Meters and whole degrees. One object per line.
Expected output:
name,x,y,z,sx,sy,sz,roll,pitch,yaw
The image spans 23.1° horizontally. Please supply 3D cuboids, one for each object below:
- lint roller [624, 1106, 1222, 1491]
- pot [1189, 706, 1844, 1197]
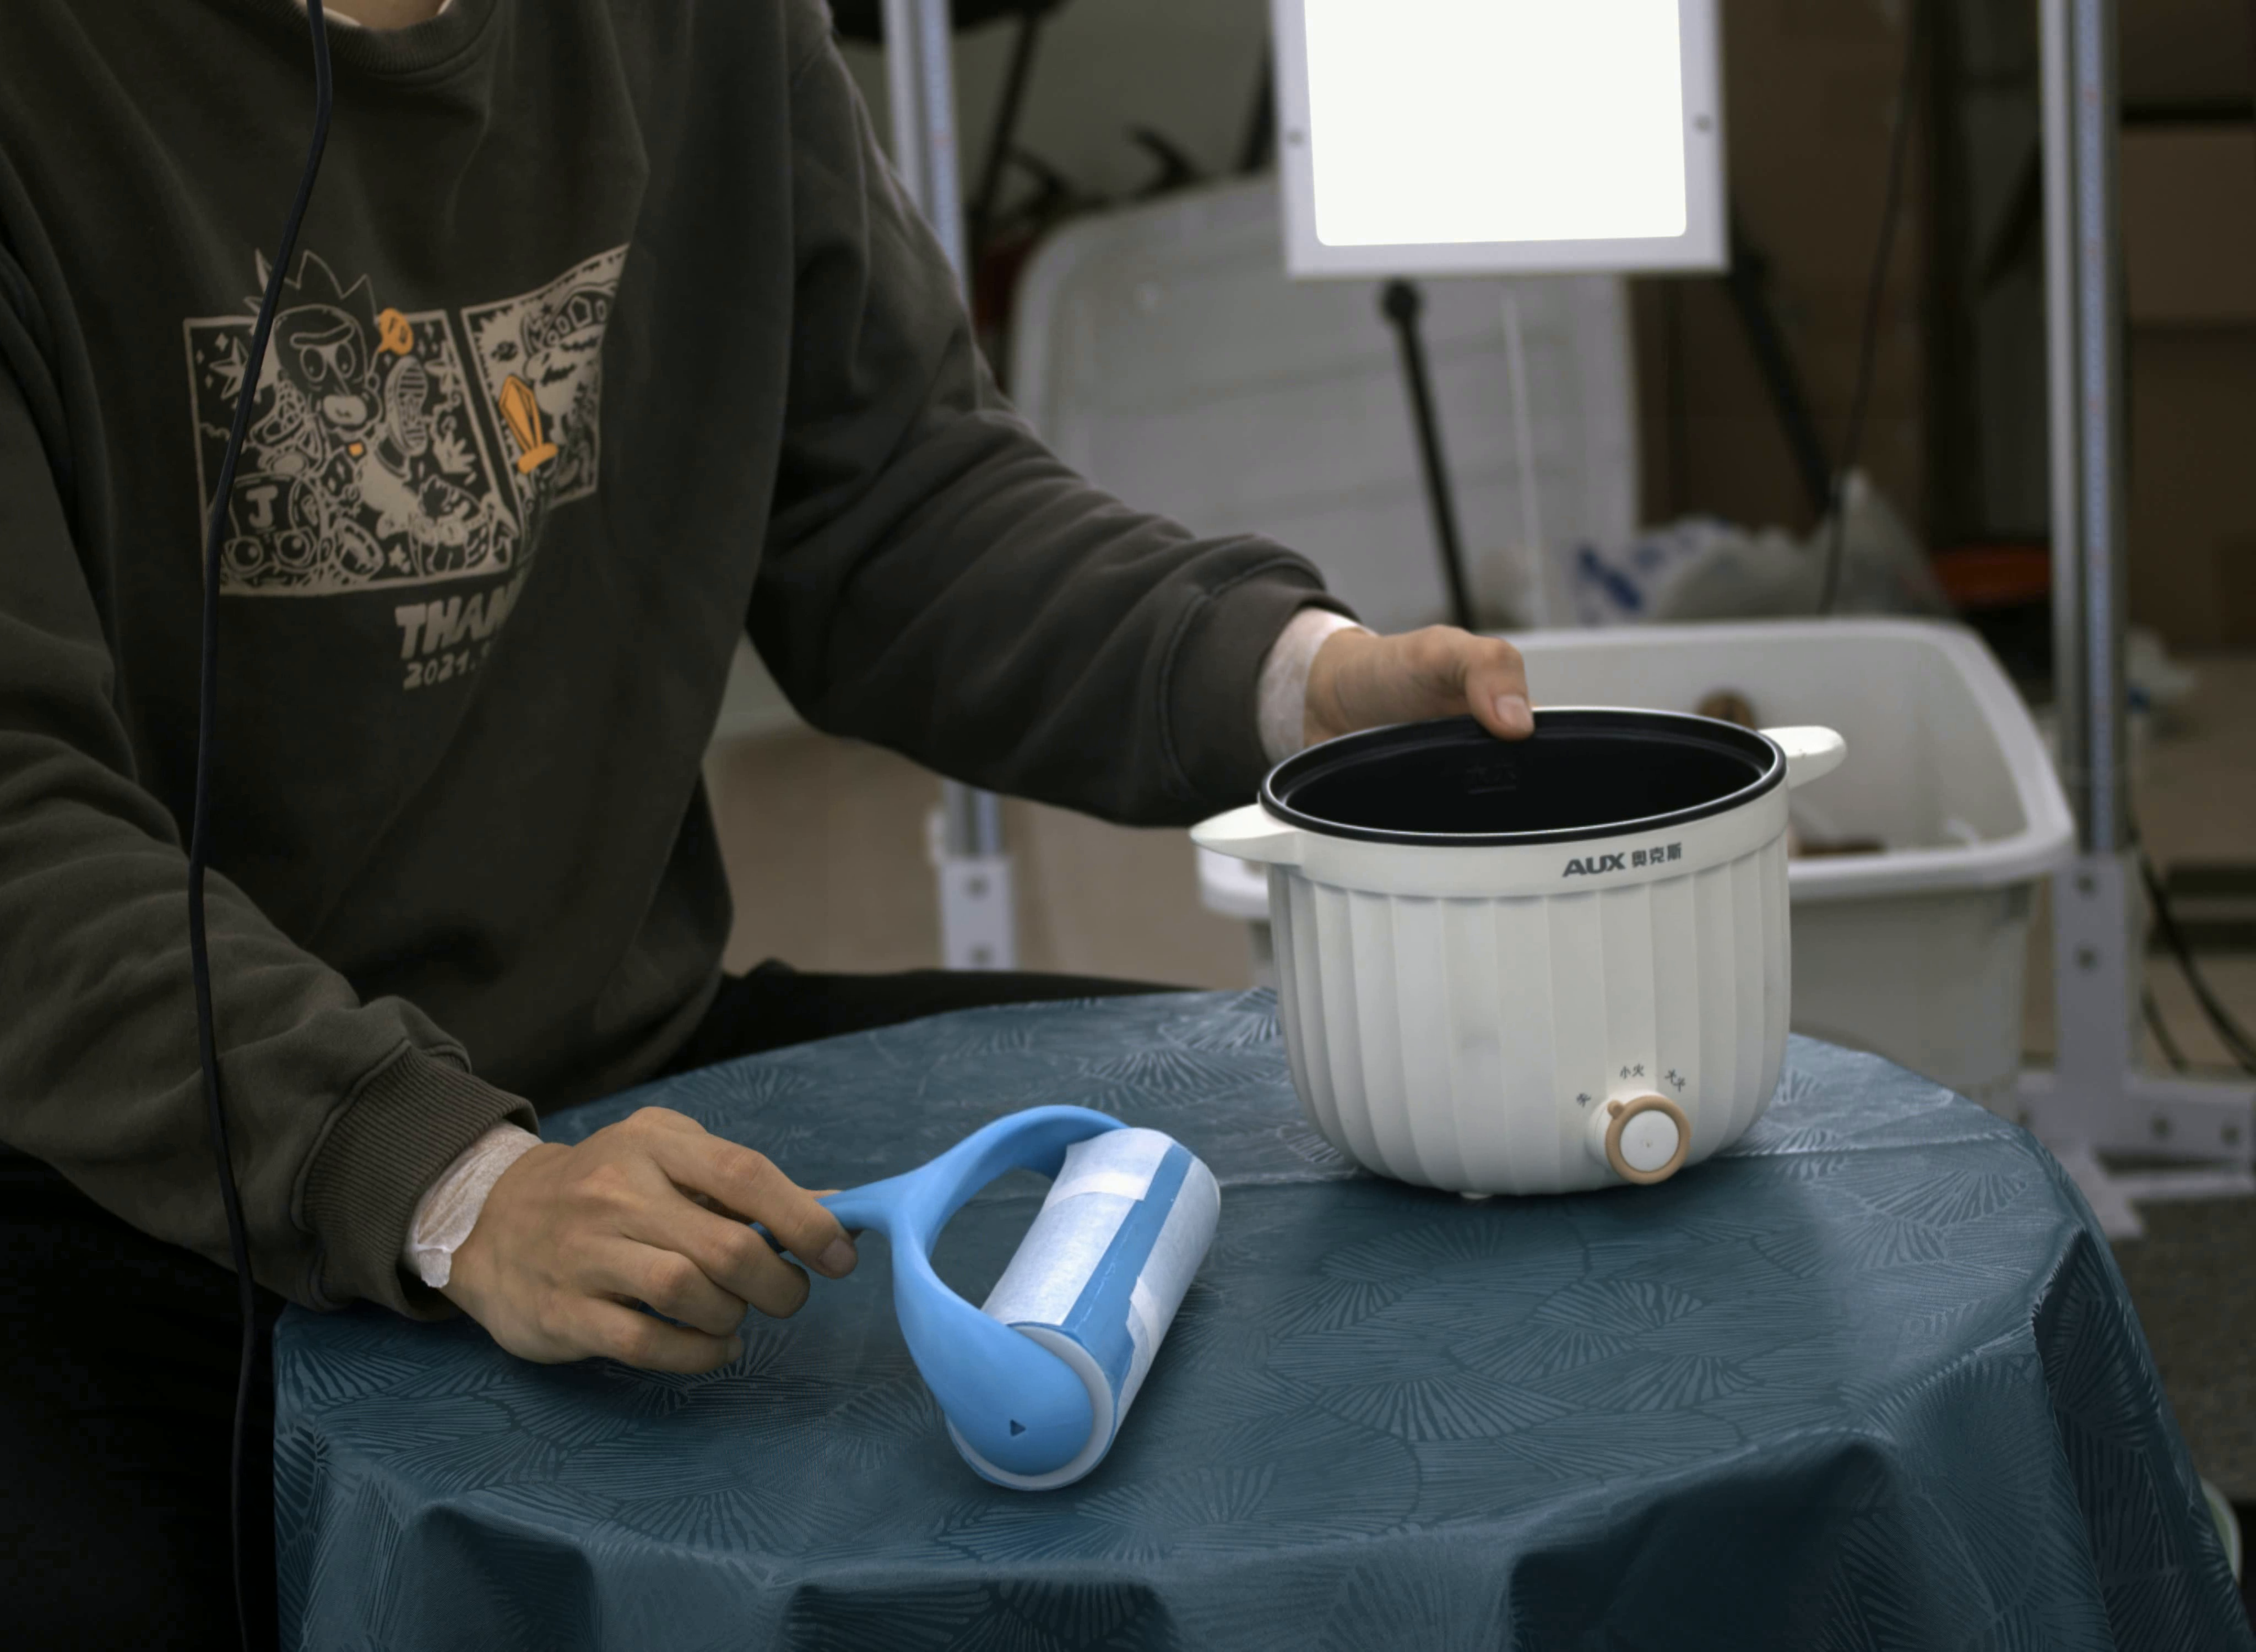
lint roller,-0.070,0.143,1.718,0.181,0.068,0.227,3,16,8
pot,0.143,0.044,1.886,0.237,0.143,0.192,-10,12,-15
